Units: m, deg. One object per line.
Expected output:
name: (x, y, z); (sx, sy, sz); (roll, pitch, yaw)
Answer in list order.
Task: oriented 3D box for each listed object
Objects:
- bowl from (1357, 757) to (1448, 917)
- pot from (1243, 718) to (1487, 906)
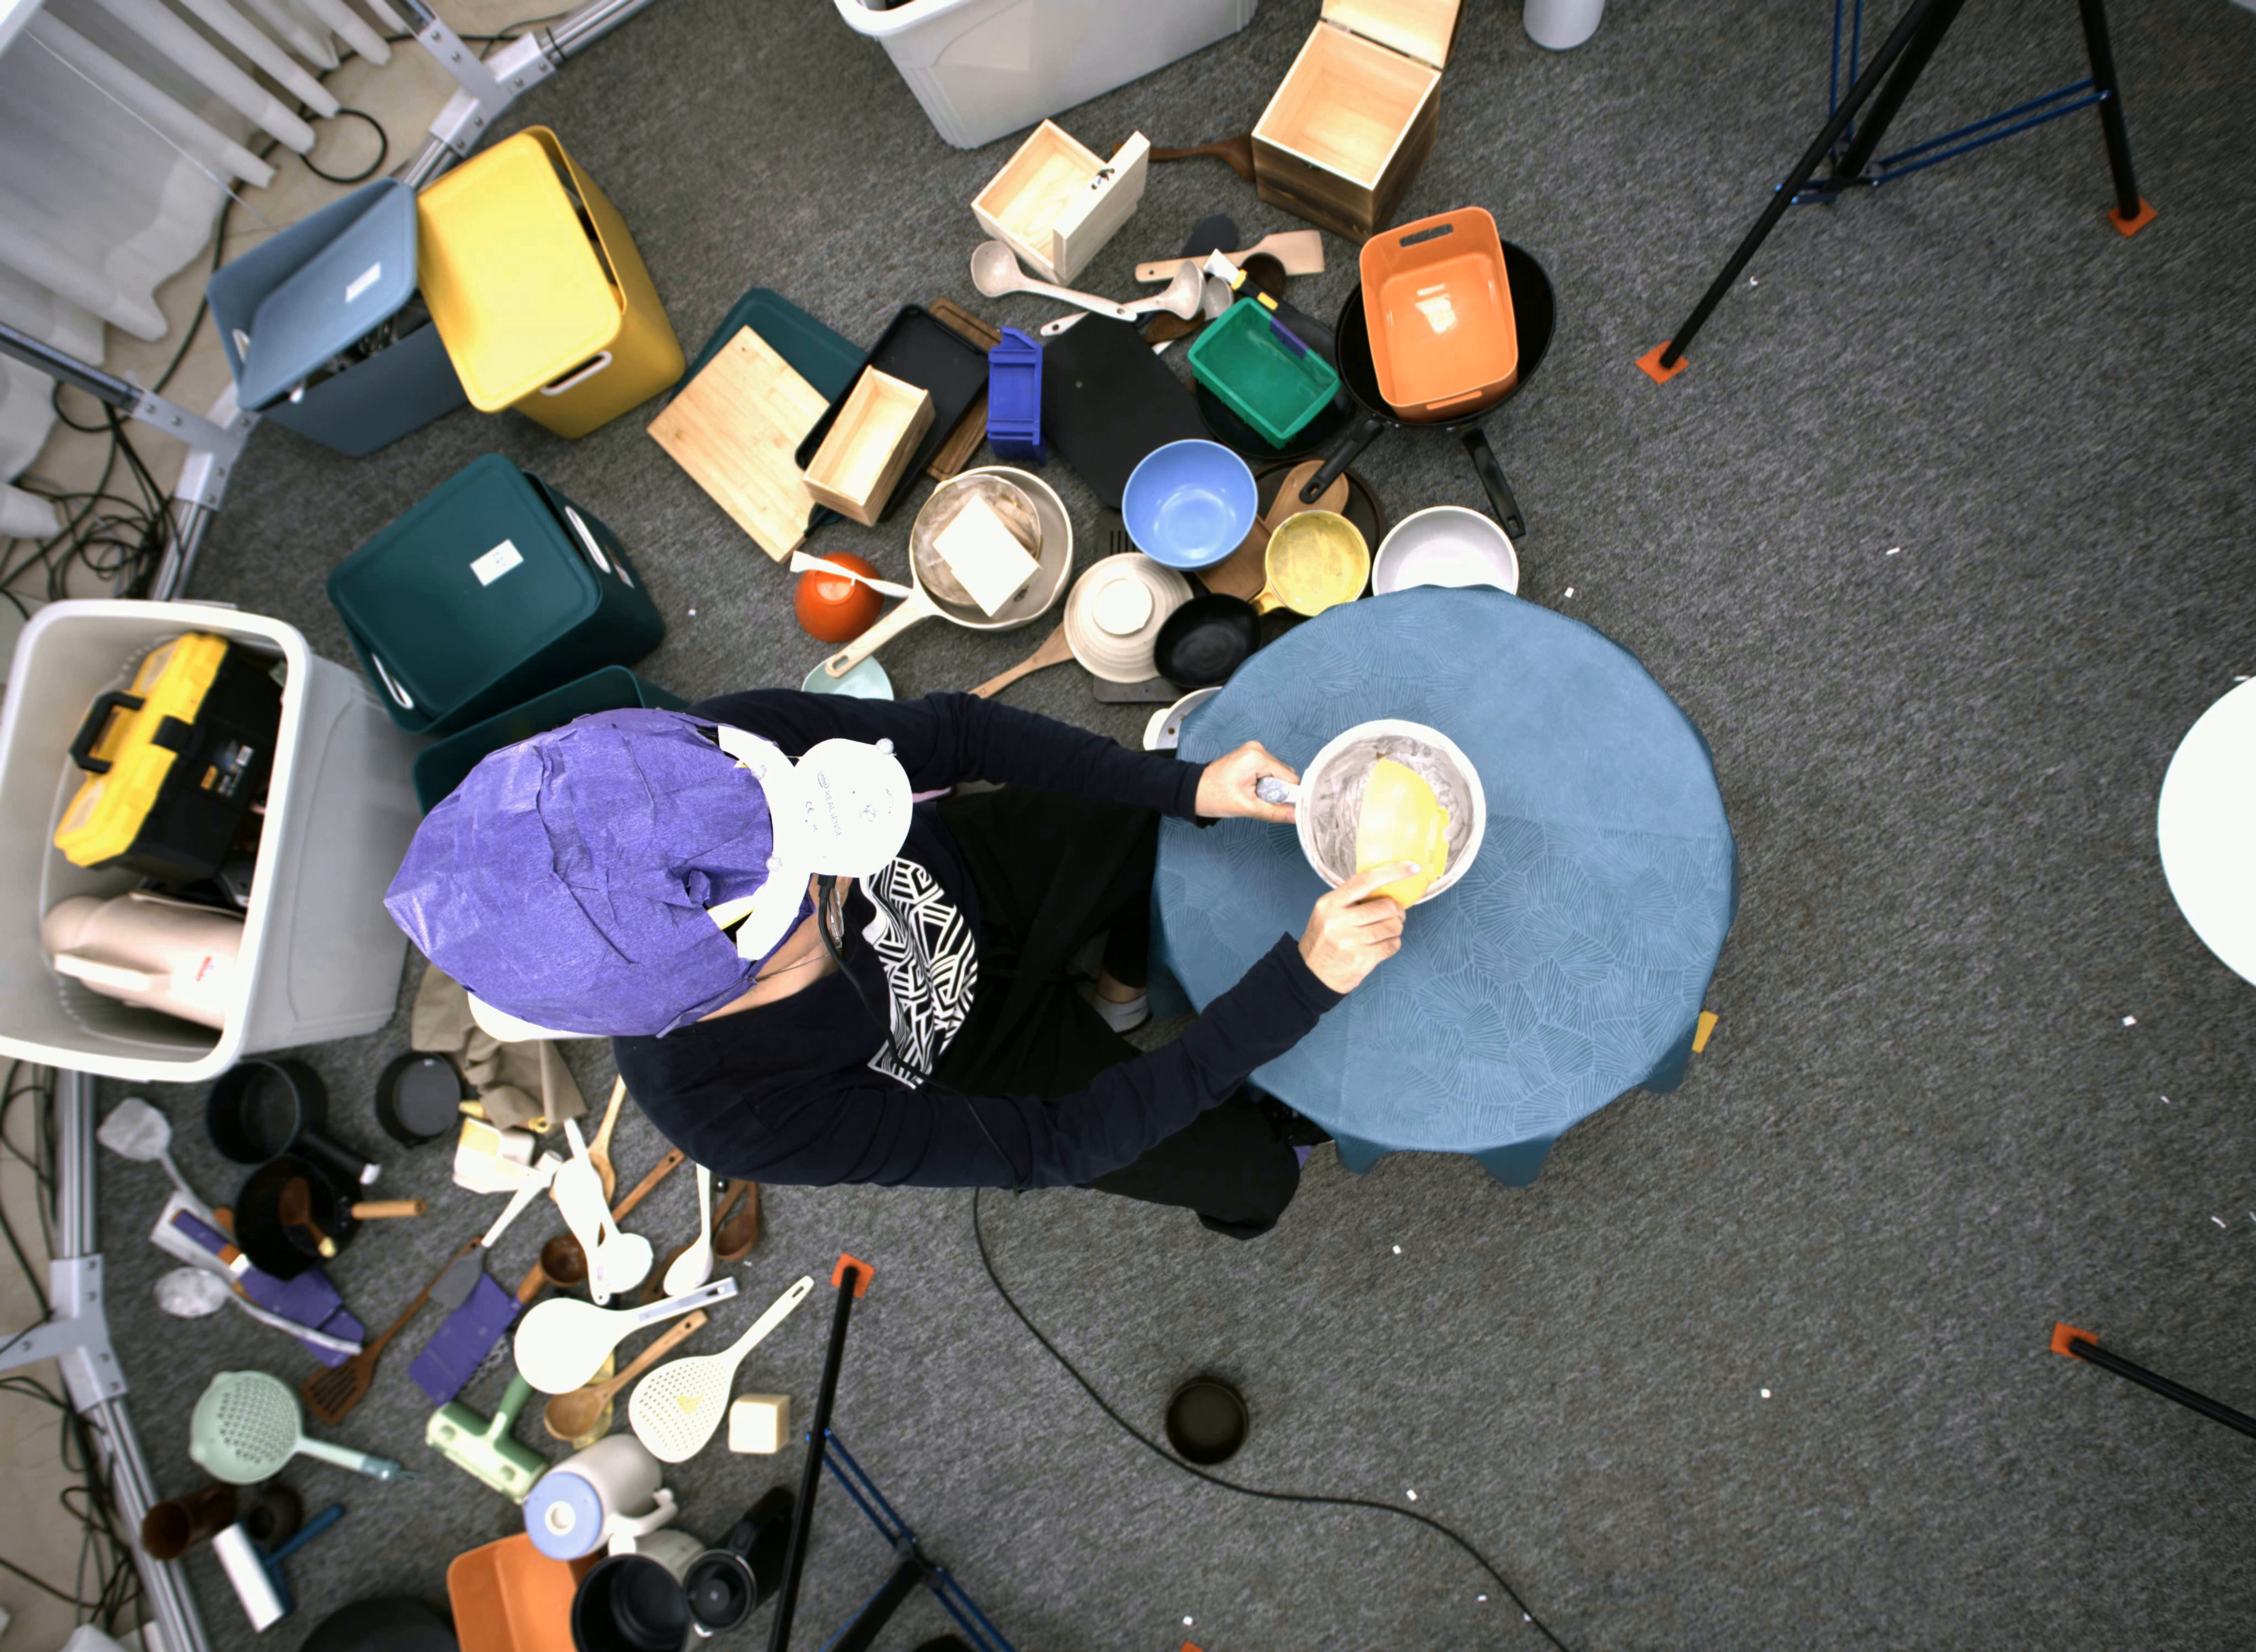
bowl: (0.249, 0.010, 1.225); (0.060, 0.145, 0.145); (5, 86, 24)
pot: (0.228, -0.015, 1.360); (0.234, 0.136, 0.178); (10, 88, 7)
